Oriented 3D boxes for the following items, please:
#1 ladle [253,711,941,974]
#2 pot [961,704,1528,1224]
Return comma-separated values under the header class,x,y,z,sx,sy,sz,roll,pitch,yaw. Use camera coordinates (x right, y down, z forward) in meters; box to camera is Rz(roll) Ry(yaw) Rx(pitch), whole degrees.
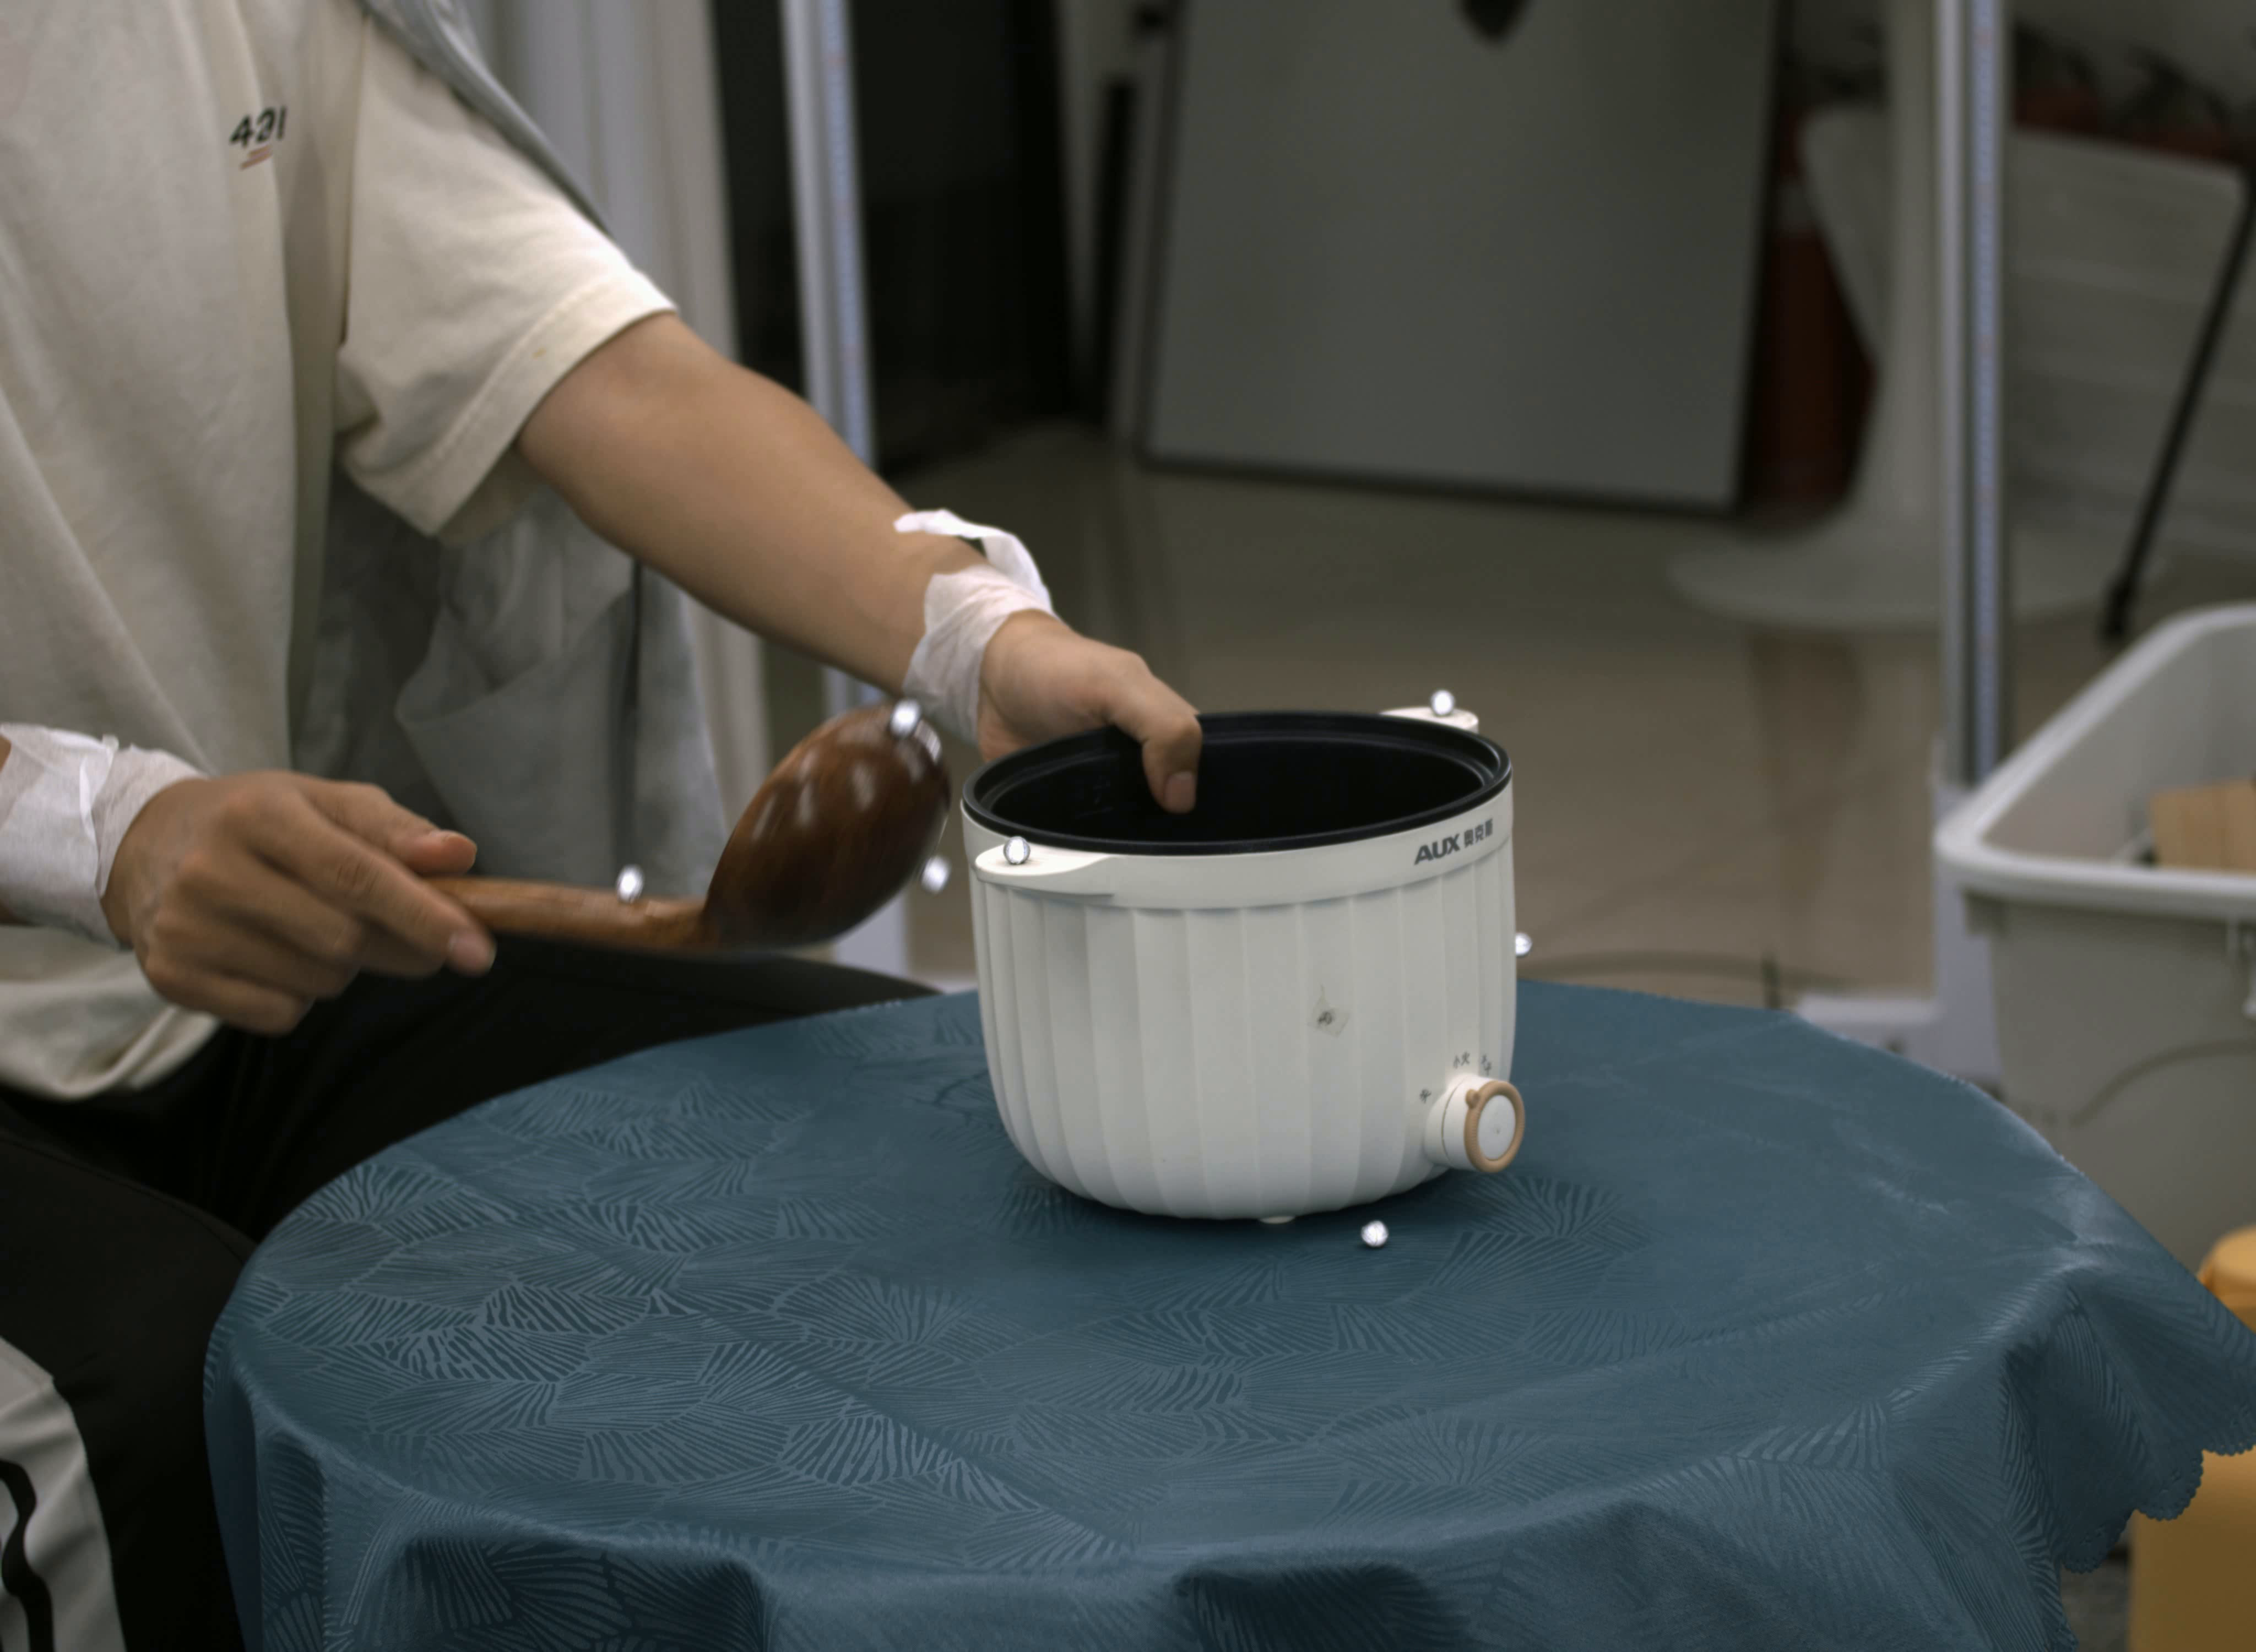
class,x,y,z,sx,sy,sz,roll,pitch,yaw
ladle,-0.168,0.003,1.604,0.276,0.077,0.080,2,5,41
pot,0.044,0.047,1.770,0.192,0.144,0.236,3,16,41
